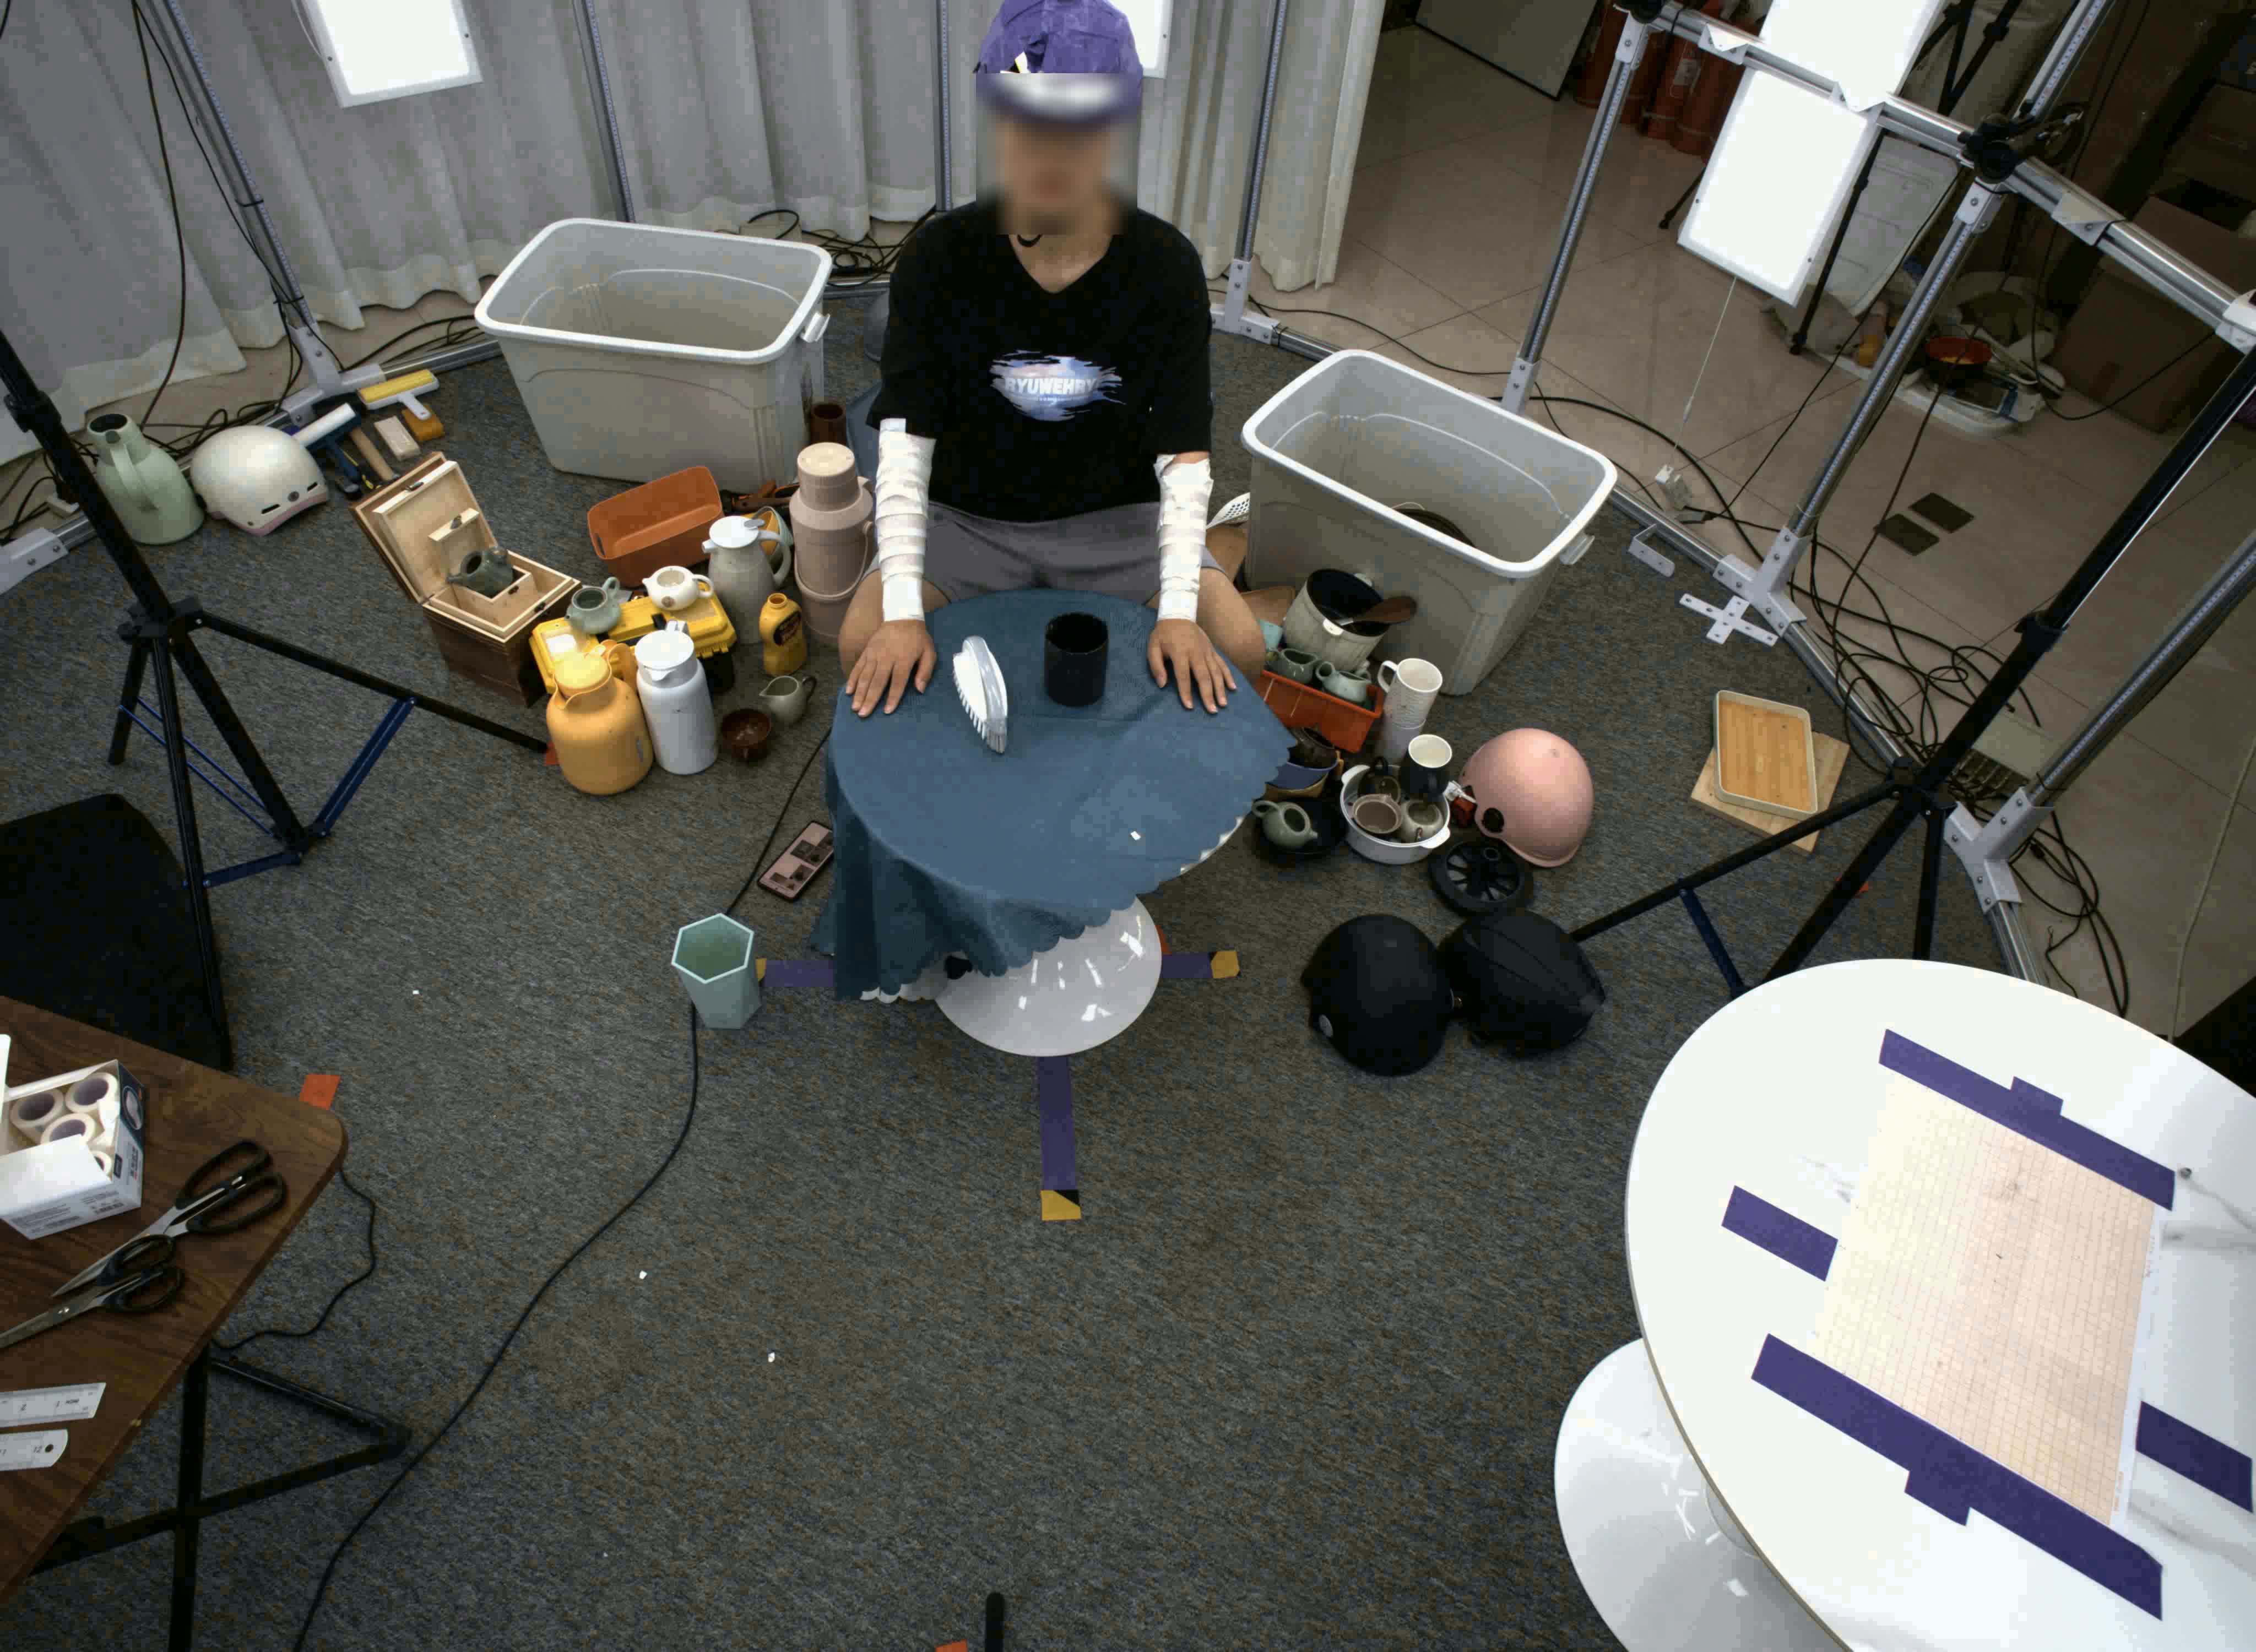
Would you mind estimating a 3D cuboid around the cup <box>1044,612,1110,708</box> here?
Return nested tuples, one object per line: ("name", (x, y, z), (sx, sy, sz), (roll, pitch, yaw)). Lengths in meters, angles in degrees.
("cup", (-0.064, -0.245, 1.816), (0.089, 0.102, 0.126), (16, 49, 15))

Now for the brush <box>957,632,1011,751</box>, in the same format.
("brush", (-0.193, -0.194, 1.770), (0.061, 0.092, 0.180), (-12, 54, -11))
